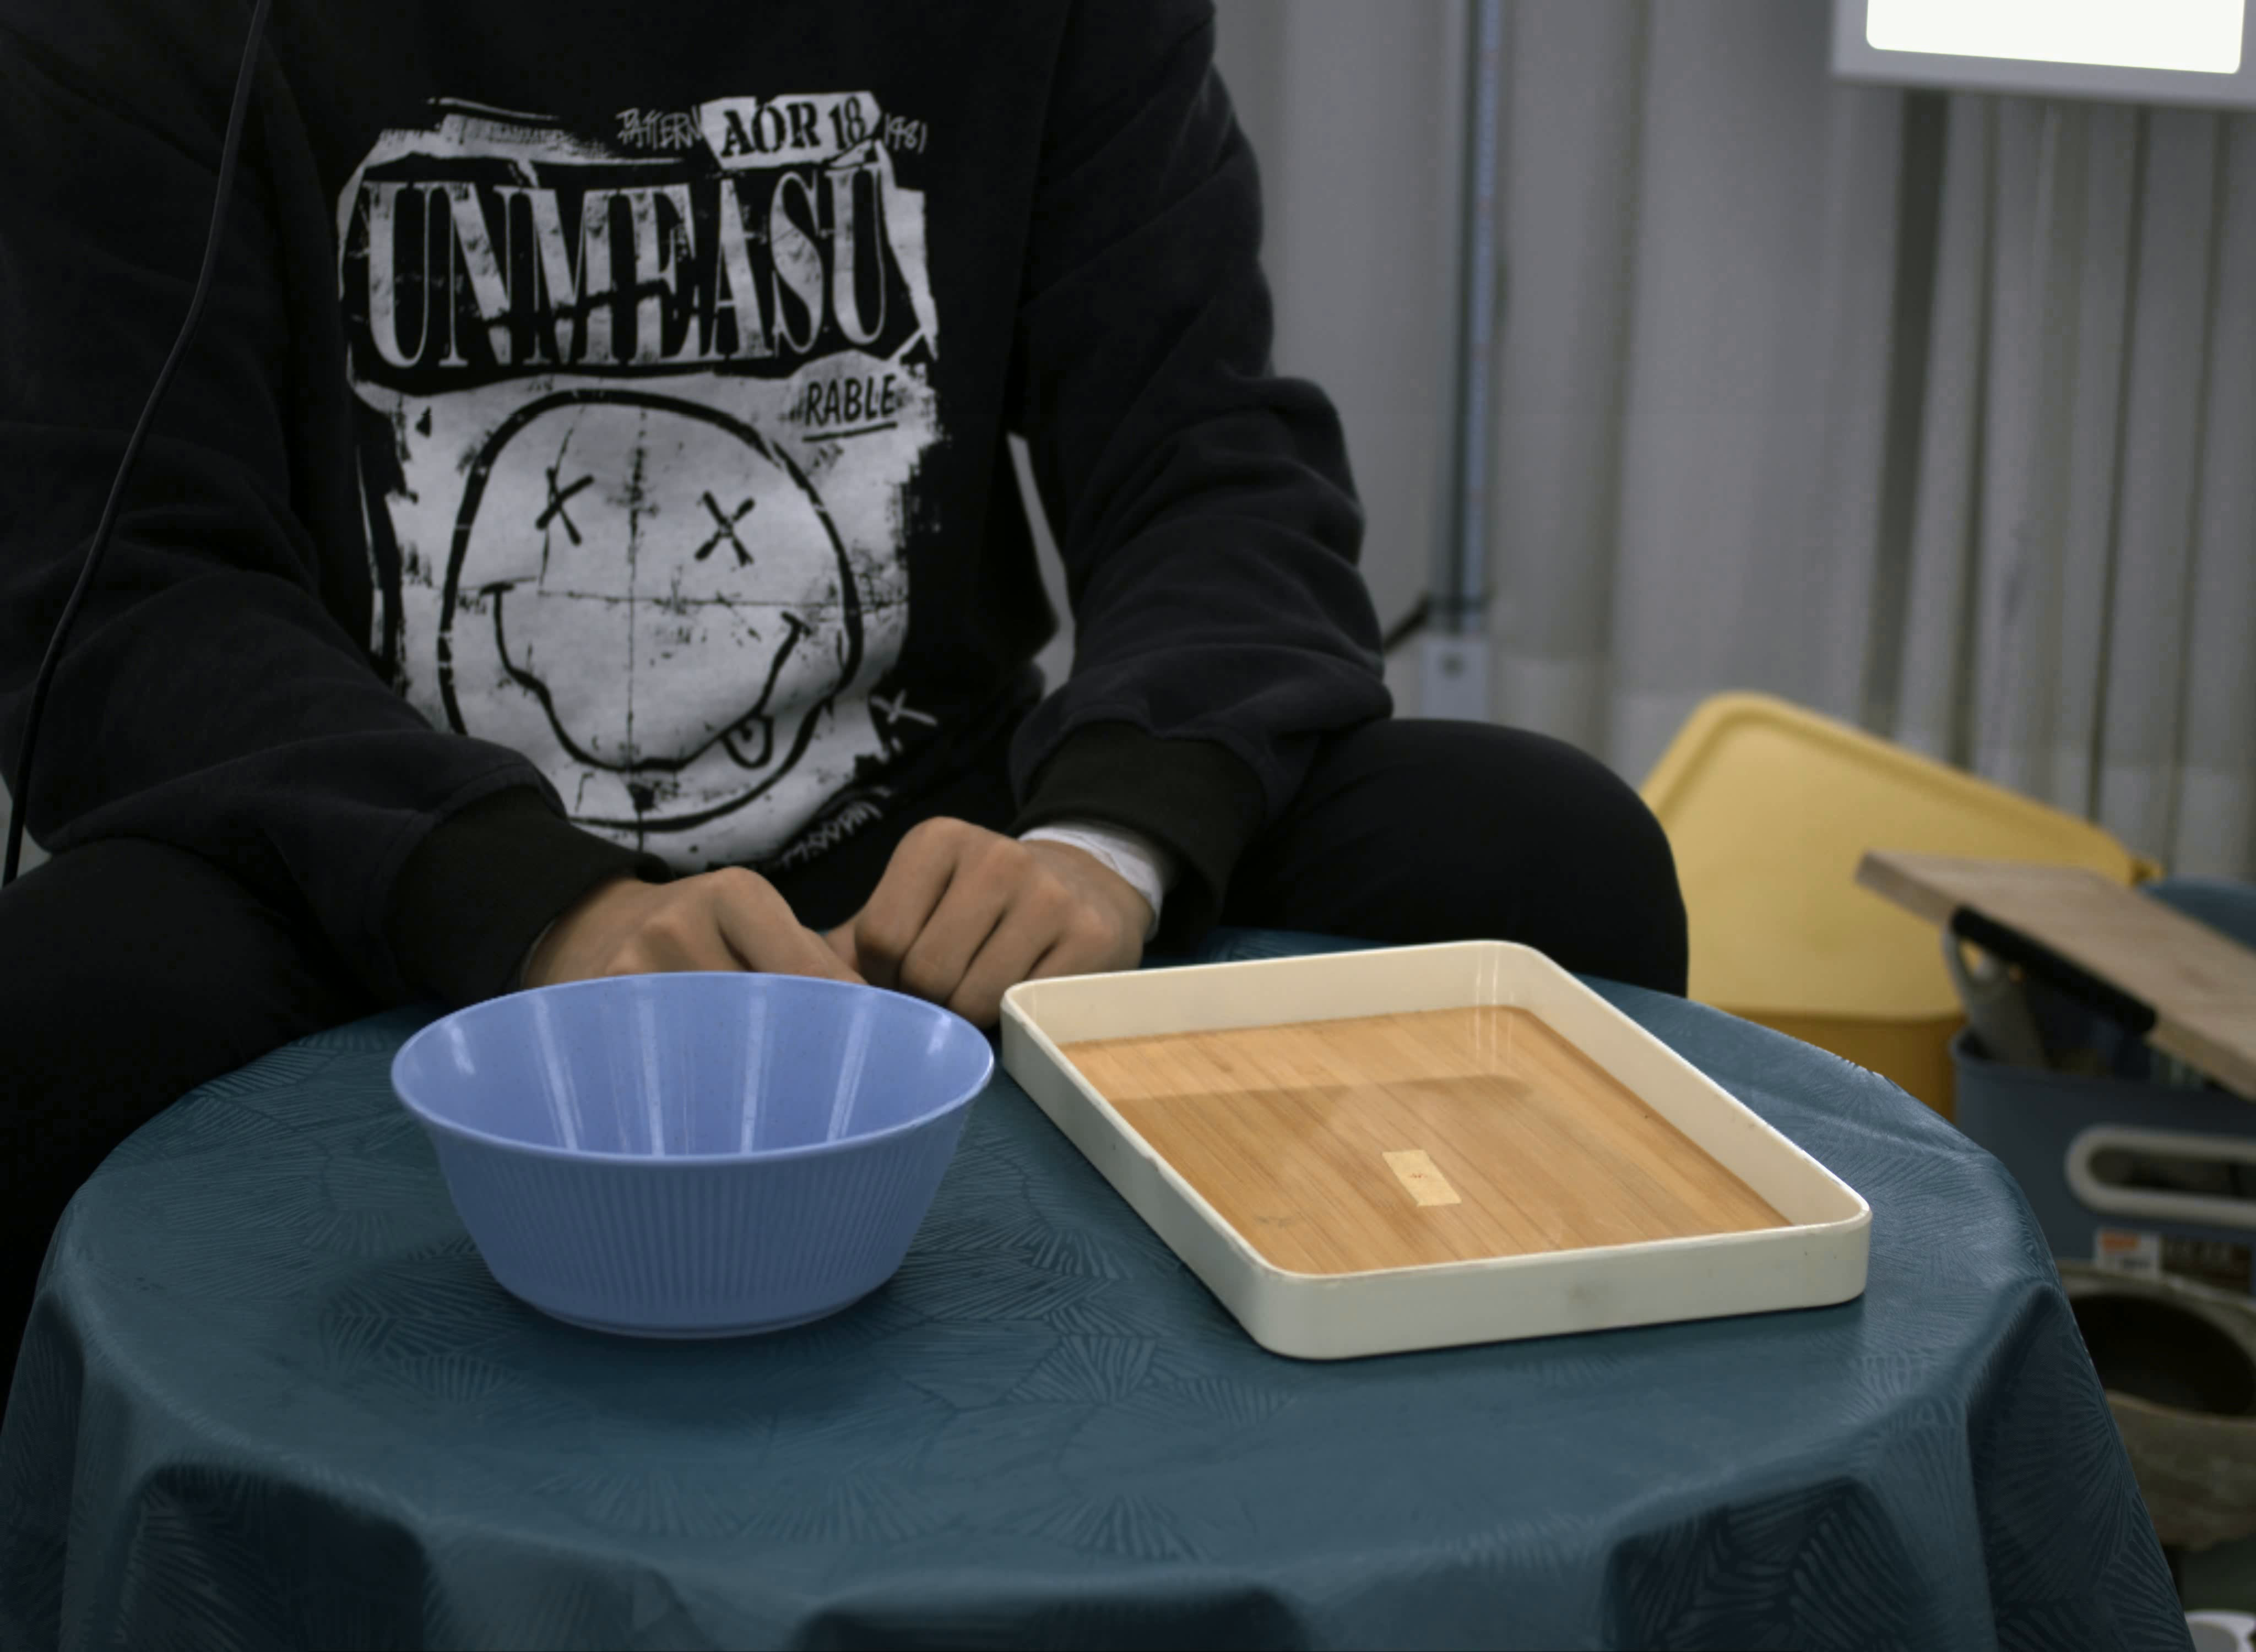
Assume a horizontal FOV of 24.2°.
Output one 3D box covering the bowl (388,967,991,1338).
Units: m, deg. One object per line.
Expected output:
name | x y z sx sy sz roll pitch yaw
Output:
bowl | -0.128 0.098 1.541 0.175 0.071 0.175 1 17 0

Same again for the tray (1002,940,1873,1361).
tray | 0.088 0.096 1.641 0.192 0.027 0.297 -4 17 -17
